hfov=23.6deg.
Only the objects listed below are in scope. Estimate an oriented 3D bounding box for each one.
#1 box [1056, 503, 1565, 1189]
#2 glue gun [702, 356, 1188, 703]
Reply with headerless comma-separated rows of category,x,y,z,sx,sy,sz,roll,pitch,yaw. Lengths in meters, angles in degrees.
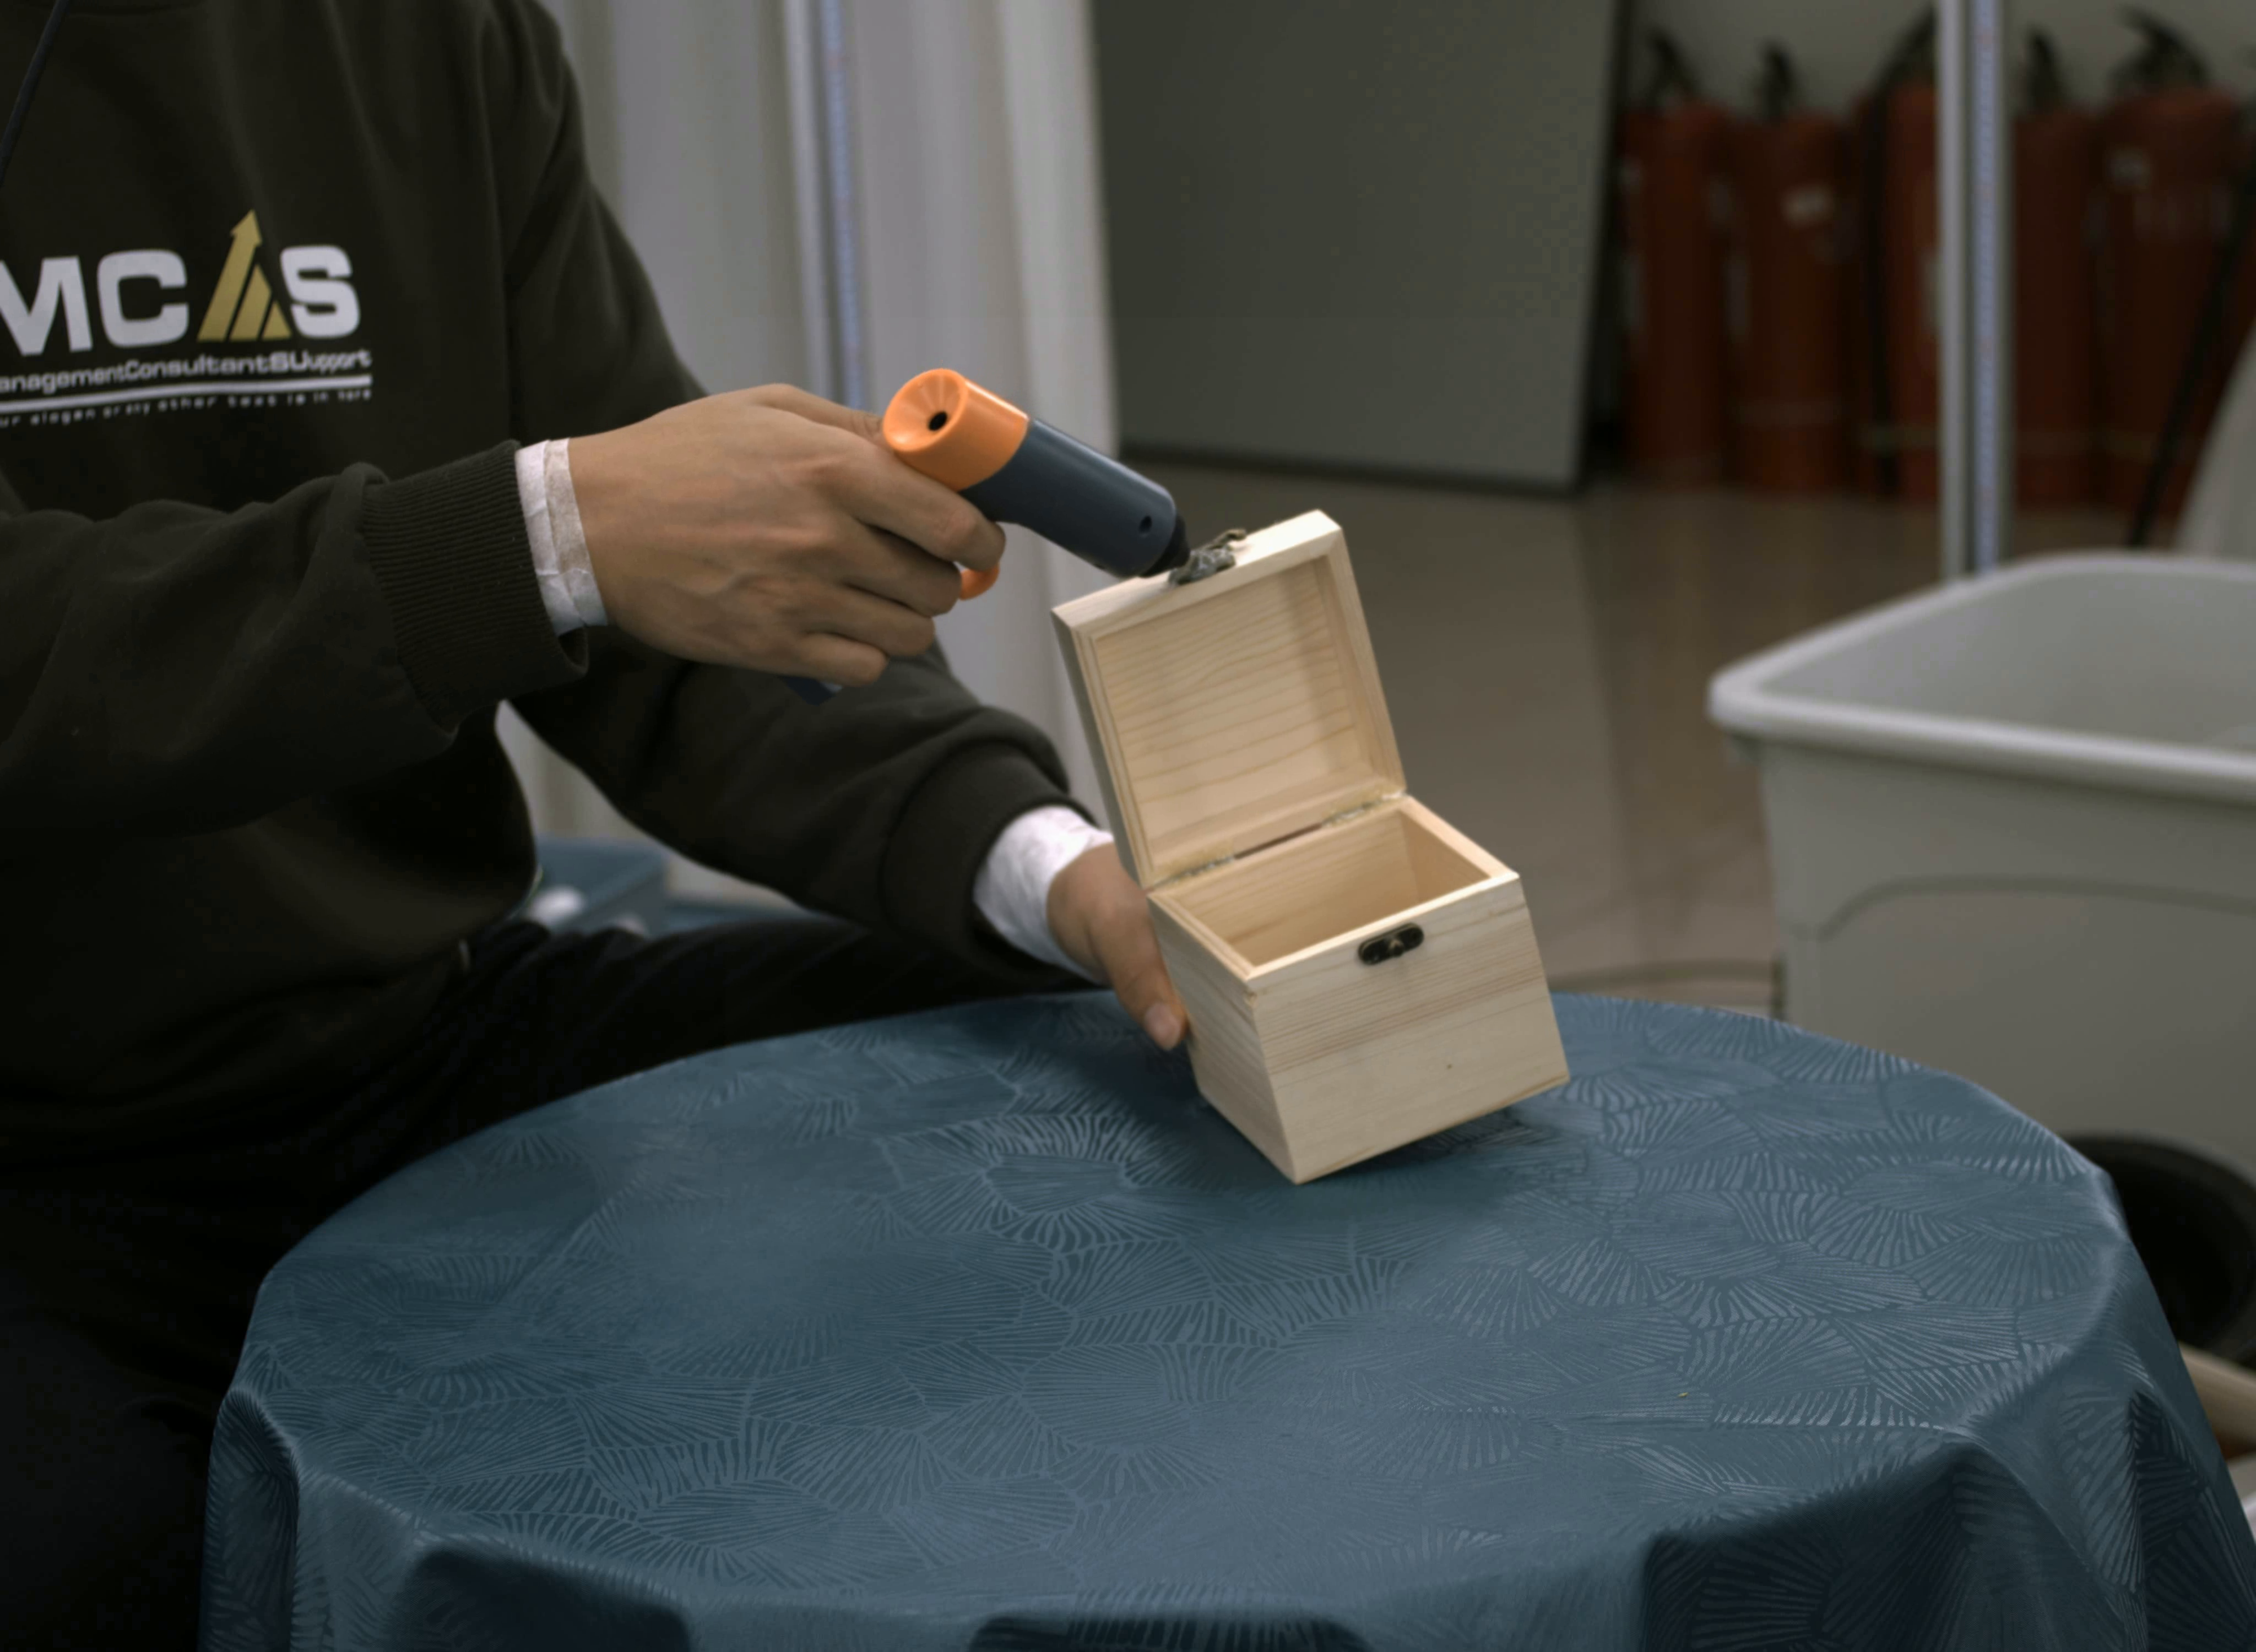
box,0.061,0.004,1.805,0.101,0.185,0.135,-20,20,-13
glue gun,-0.061,-0.095,1.789,0.140,0.116,0.041,-26,45,19
